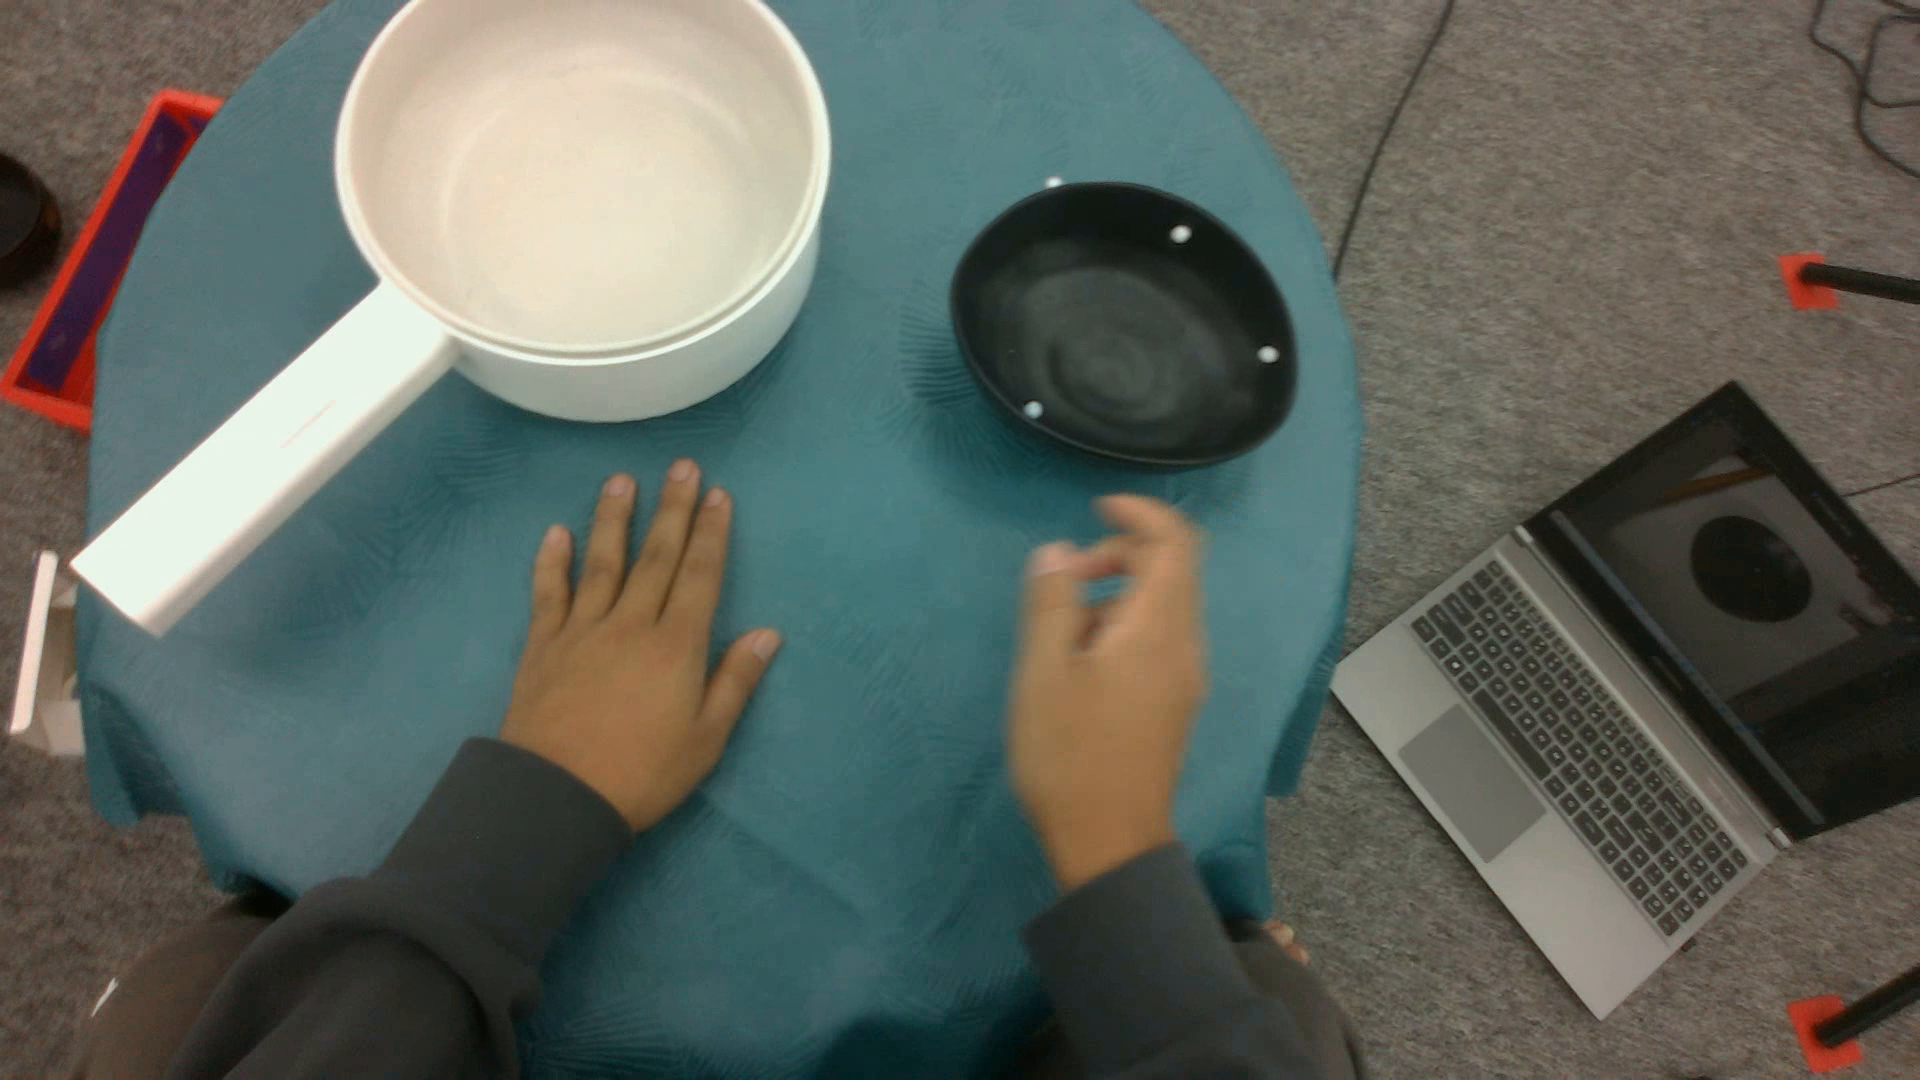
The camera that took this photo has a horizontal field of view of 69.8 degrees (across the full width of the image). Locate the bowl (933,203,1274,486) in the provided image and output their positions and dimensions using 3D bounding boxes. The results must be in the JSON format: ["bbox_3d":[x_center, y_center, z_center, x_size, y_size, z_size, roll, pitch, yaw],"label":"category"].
[{"bbox_3d":[0.068,-0.087,0.673,0.170,0.066,0.138,17,71,-1],"label":"bowl"}]

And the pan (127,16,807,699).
[{"bbox_3d":[-0.218,-0.075,0.634,0.201,0.102,0.356,36,74,3],"label":"pan"}]
